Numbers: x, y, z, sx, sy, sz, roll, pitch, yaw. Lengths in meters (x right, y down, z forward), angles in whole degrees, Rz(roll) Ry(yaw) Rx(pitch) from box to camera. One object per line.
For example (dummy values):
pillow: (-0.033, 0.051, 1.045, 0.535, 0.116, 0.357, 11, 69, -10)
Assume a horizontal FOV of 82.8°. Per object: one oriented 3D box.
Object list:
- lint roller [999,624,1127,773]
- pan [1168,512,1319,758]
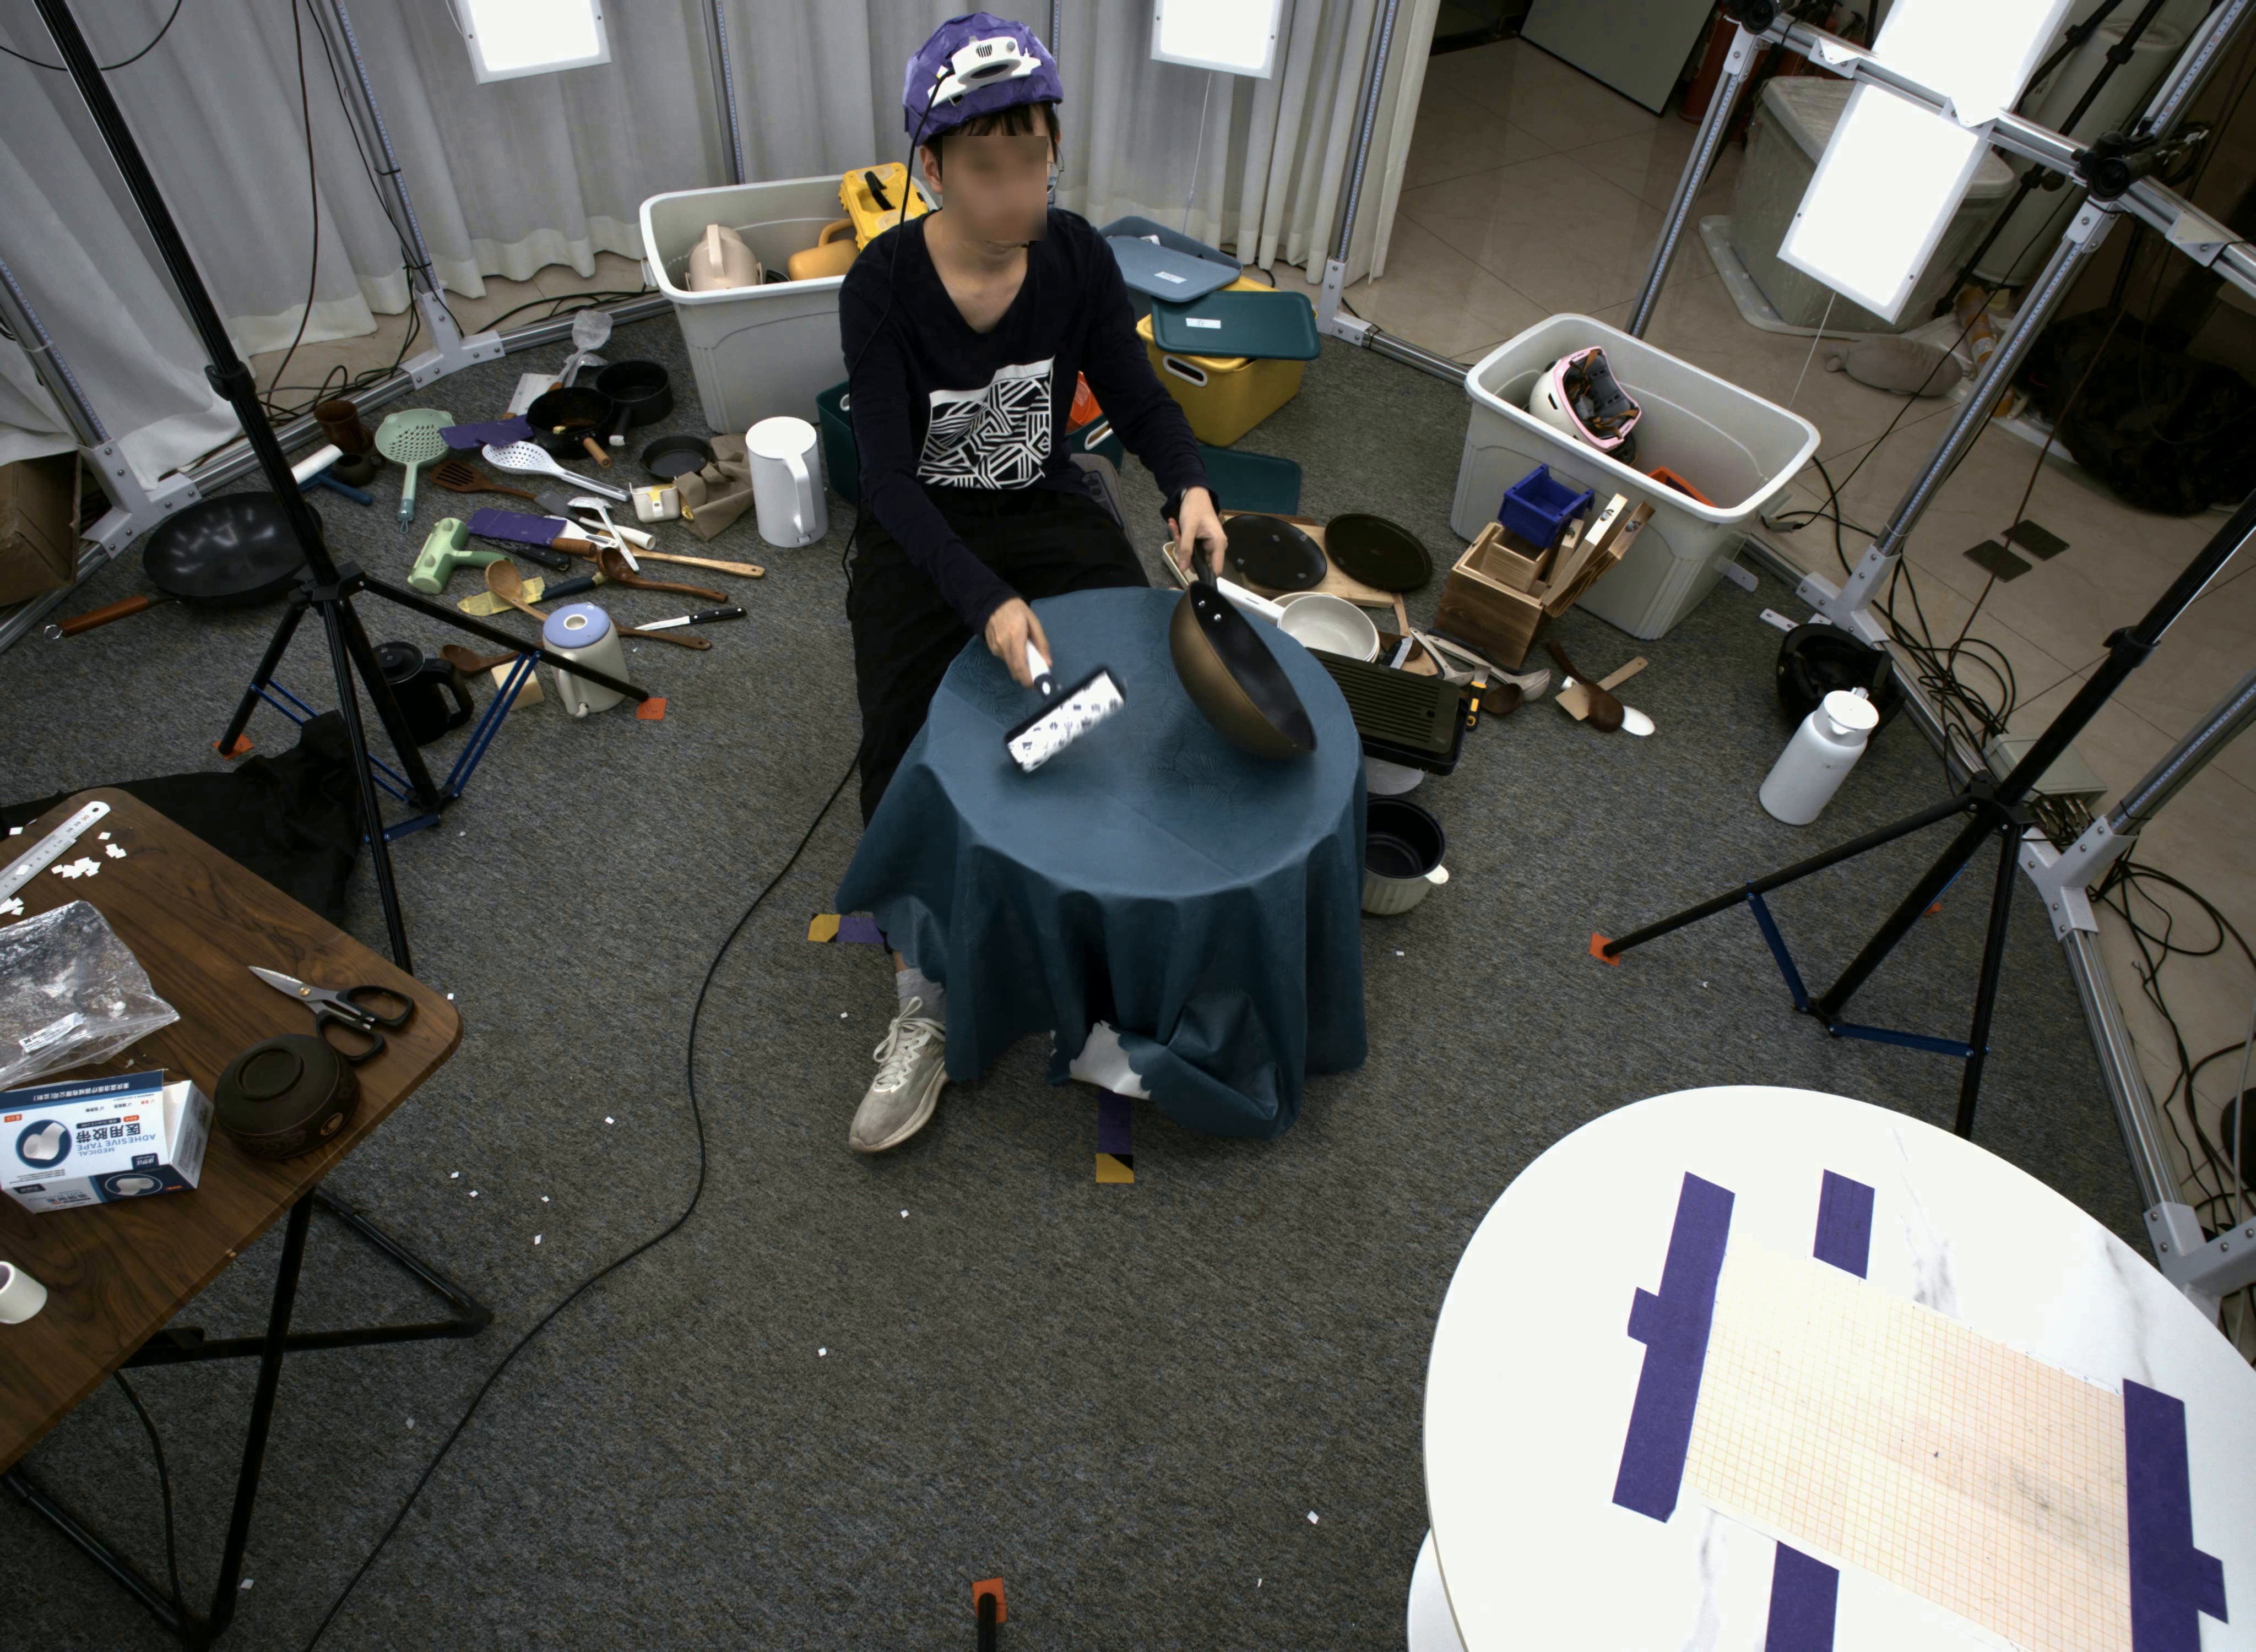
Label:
lint roller: (-0.123, -0.199, 1.754, 0.176, 0.049, 0.253, -32, 52, 2)
pan: (0.114, -0.265, 1.770, 0.086, 0.283, 0.474, -36, 51, 21)
